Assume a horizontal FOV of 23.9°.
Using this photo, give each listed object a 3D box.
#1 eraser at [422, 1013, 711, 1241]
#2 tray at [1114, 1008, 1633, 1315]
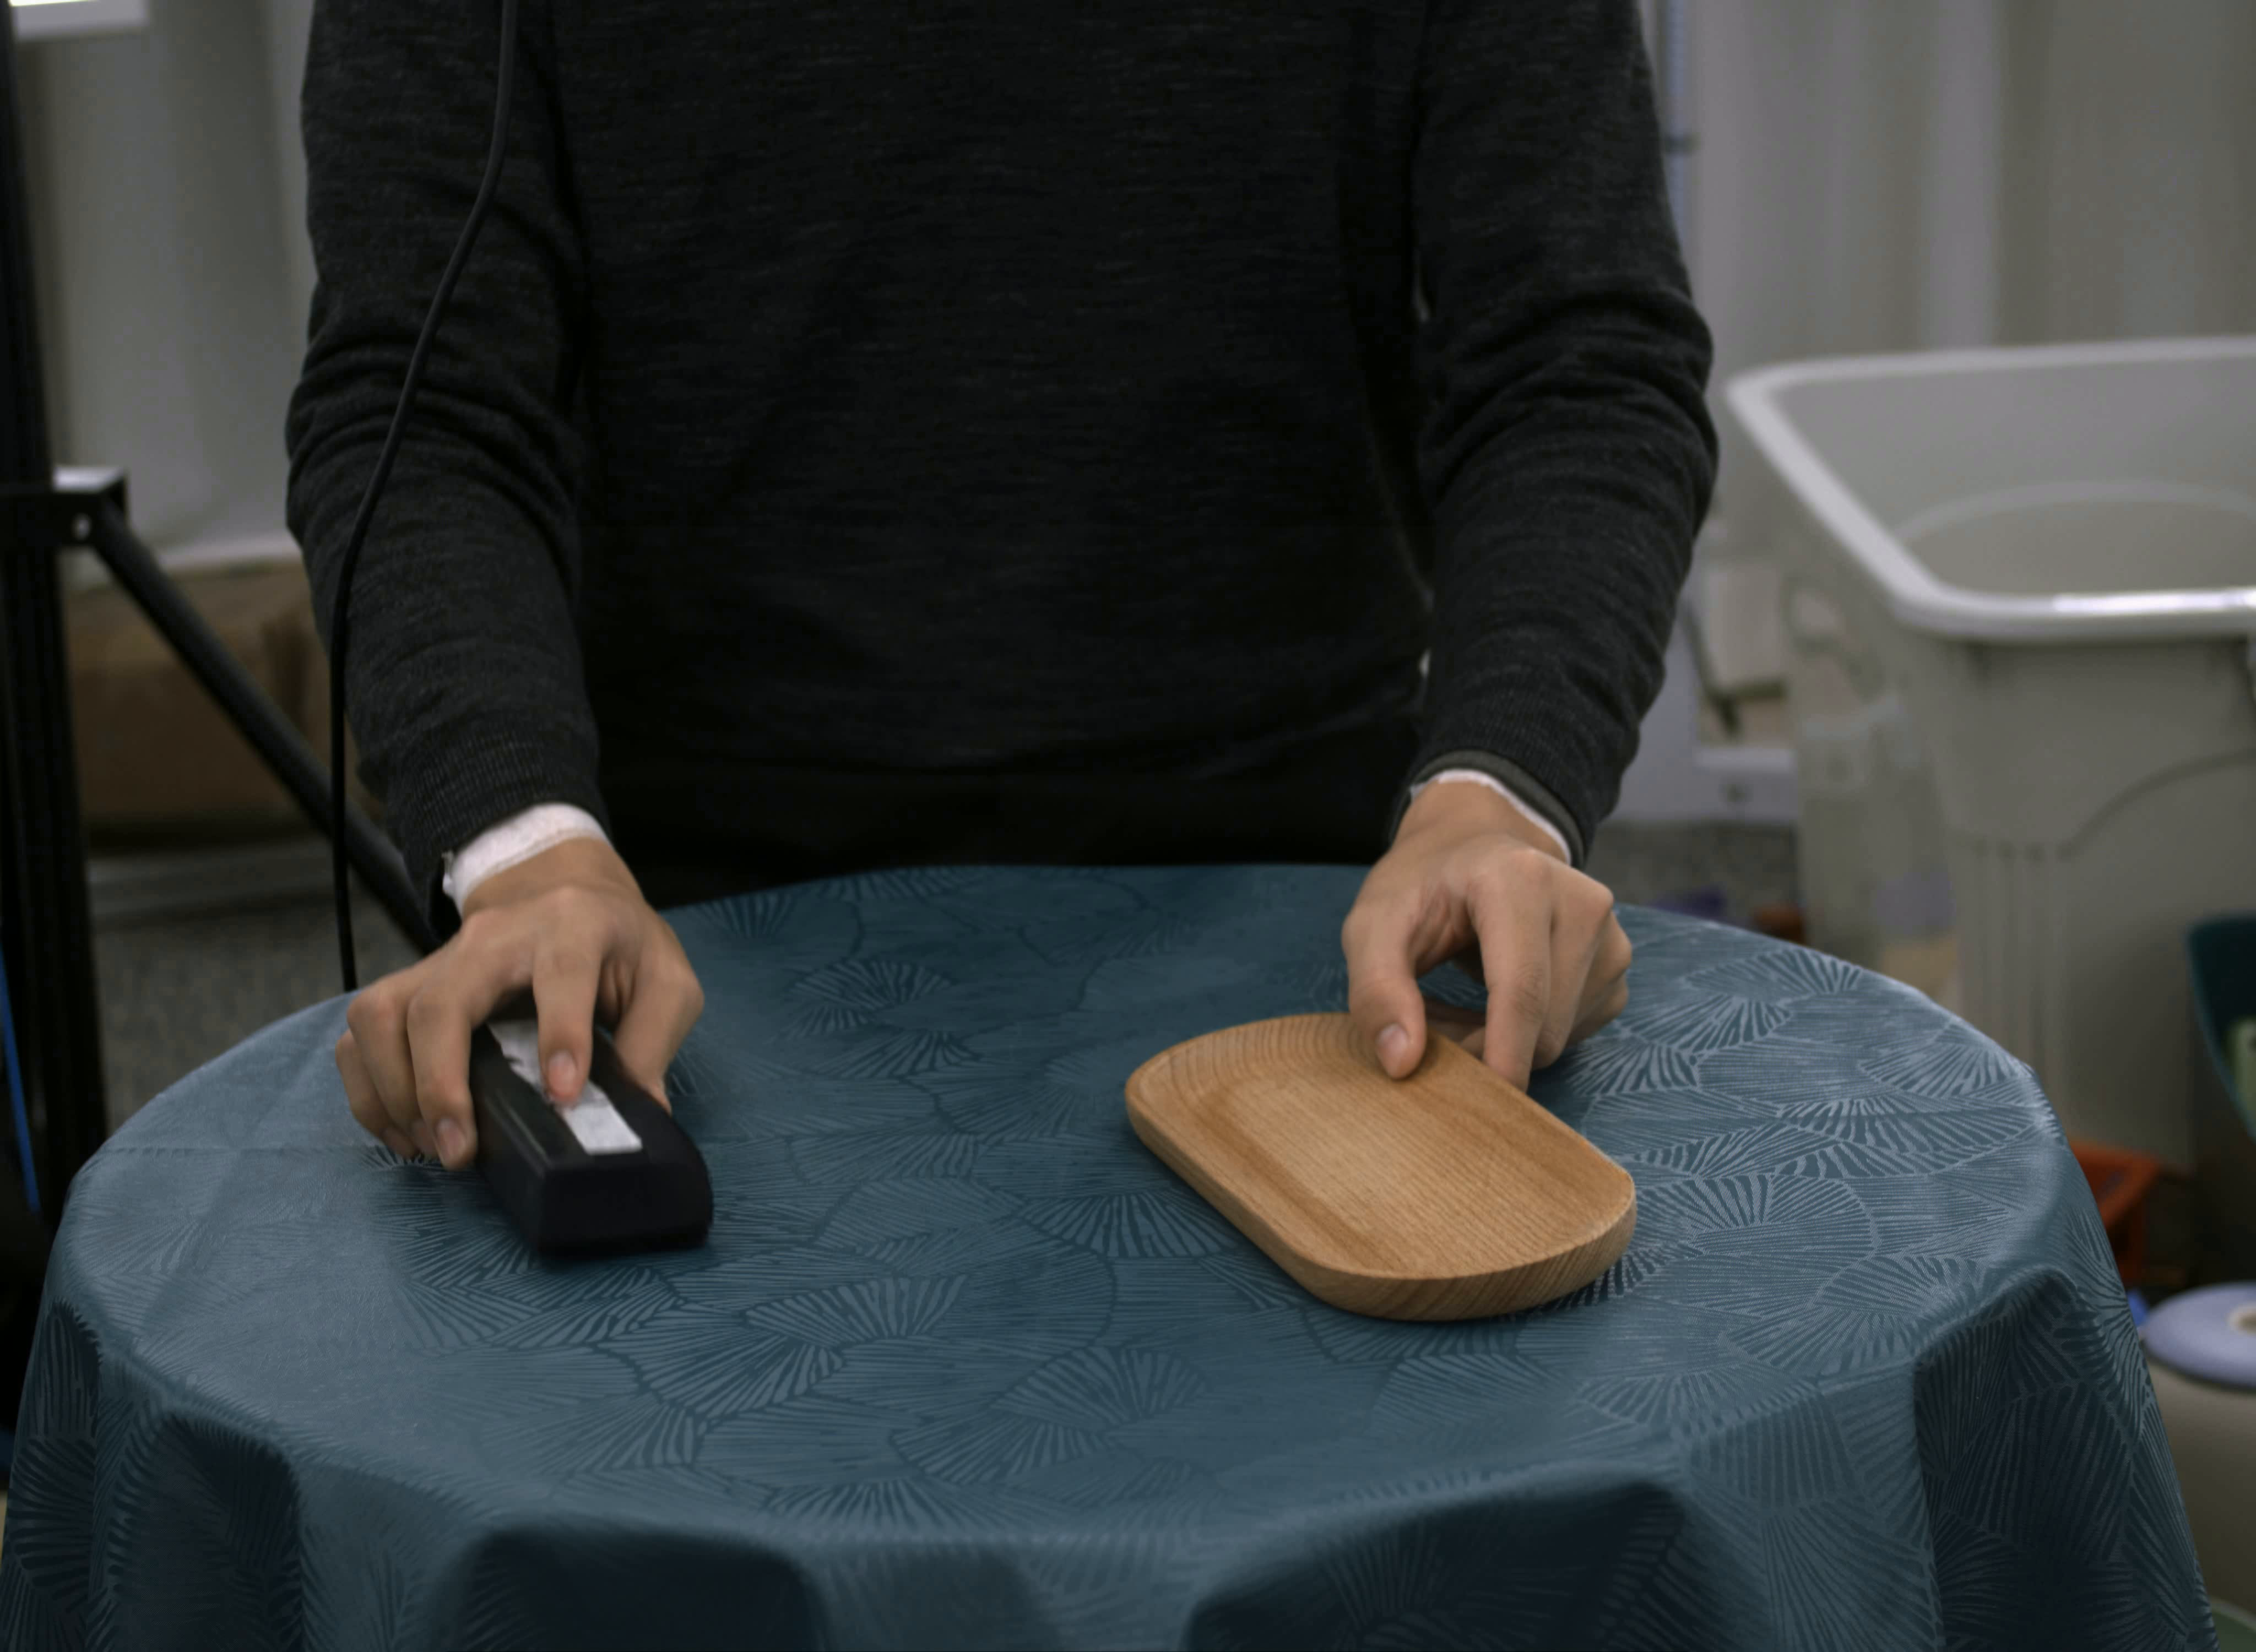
[{"bbox_3d":[-0.166,0.088,1.572,0.052,0.030,0.128,-3,17,-22],"label":"eraser"},{"bbox_3d":[0.069,0.096,1.544,0.100,0.020,0.235,-13,17,-16],"label":"tray"}]
